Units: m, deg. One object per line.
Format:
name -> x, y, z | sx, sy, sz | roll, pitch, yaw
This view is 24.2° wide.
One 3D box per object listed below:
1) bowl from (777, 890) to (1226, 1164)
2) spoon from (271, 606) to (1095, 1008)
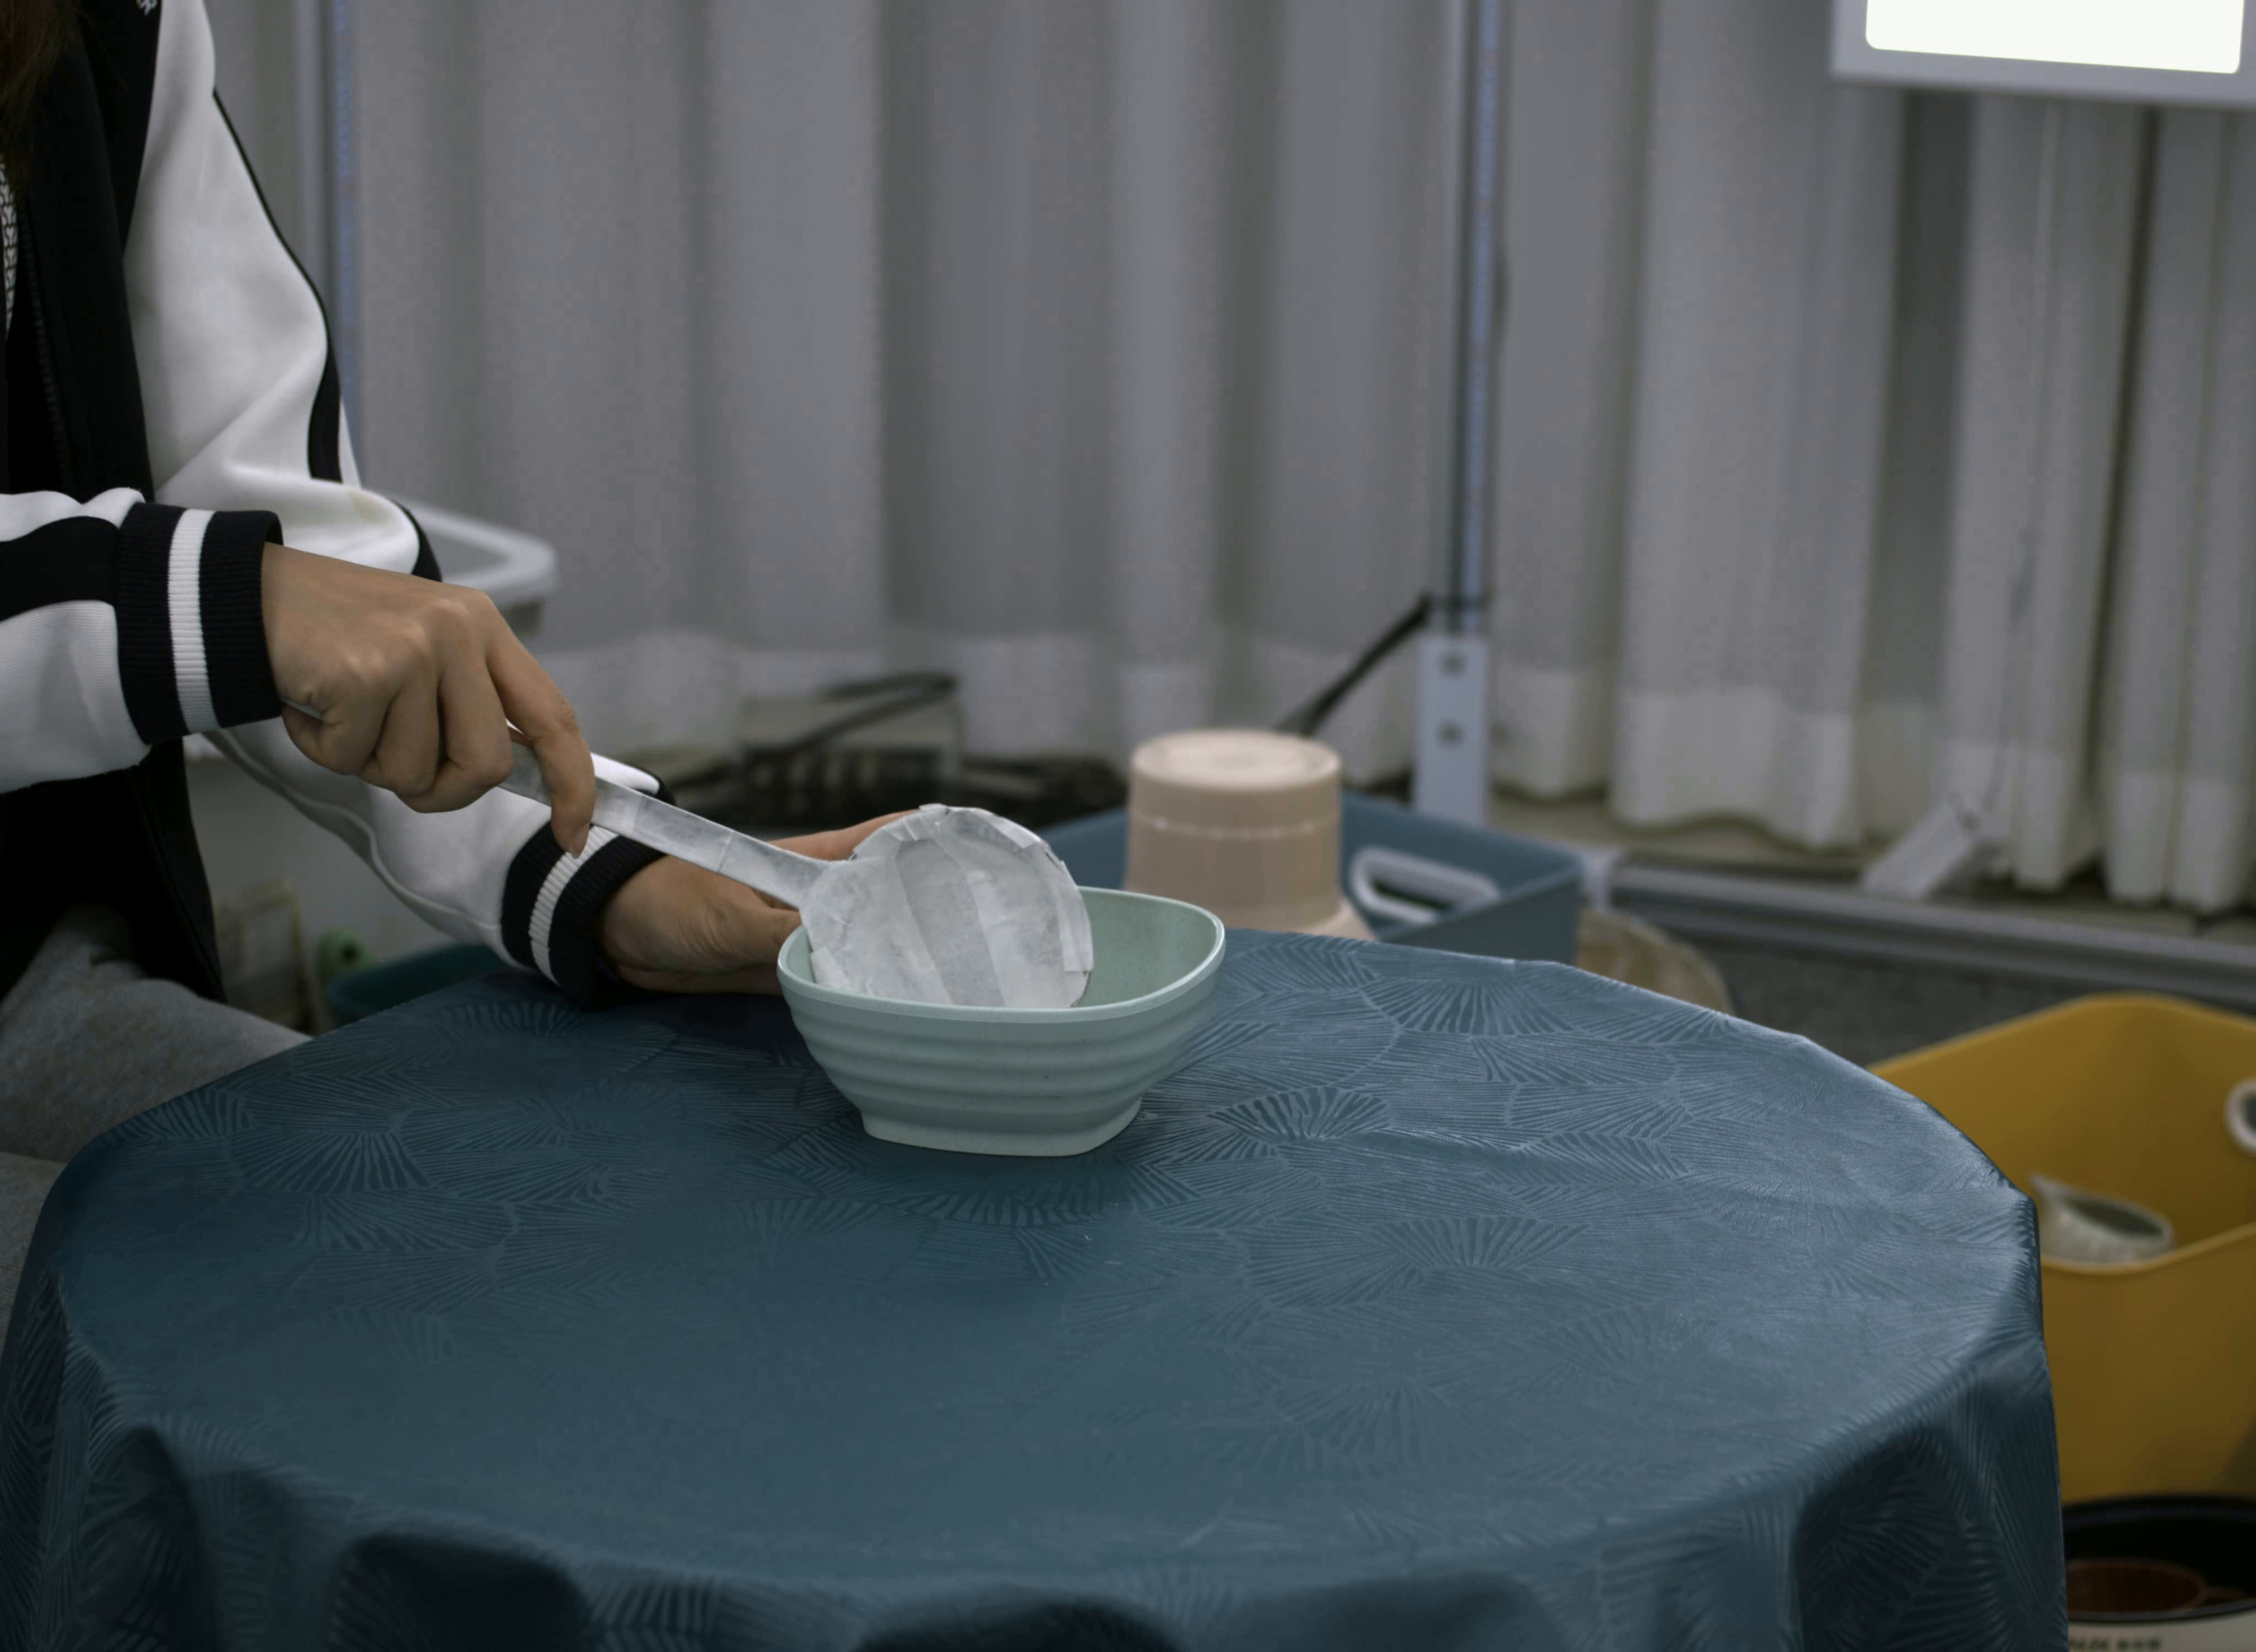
bowl -> -0.040, 0.066, 1.686 | 0.151, 0.059, 0.150 | 1, 16, 0
spoon -> -0.138, -0.006, 1.649 | 0.279, 0.101, 0.059 | 27, -1, -22
